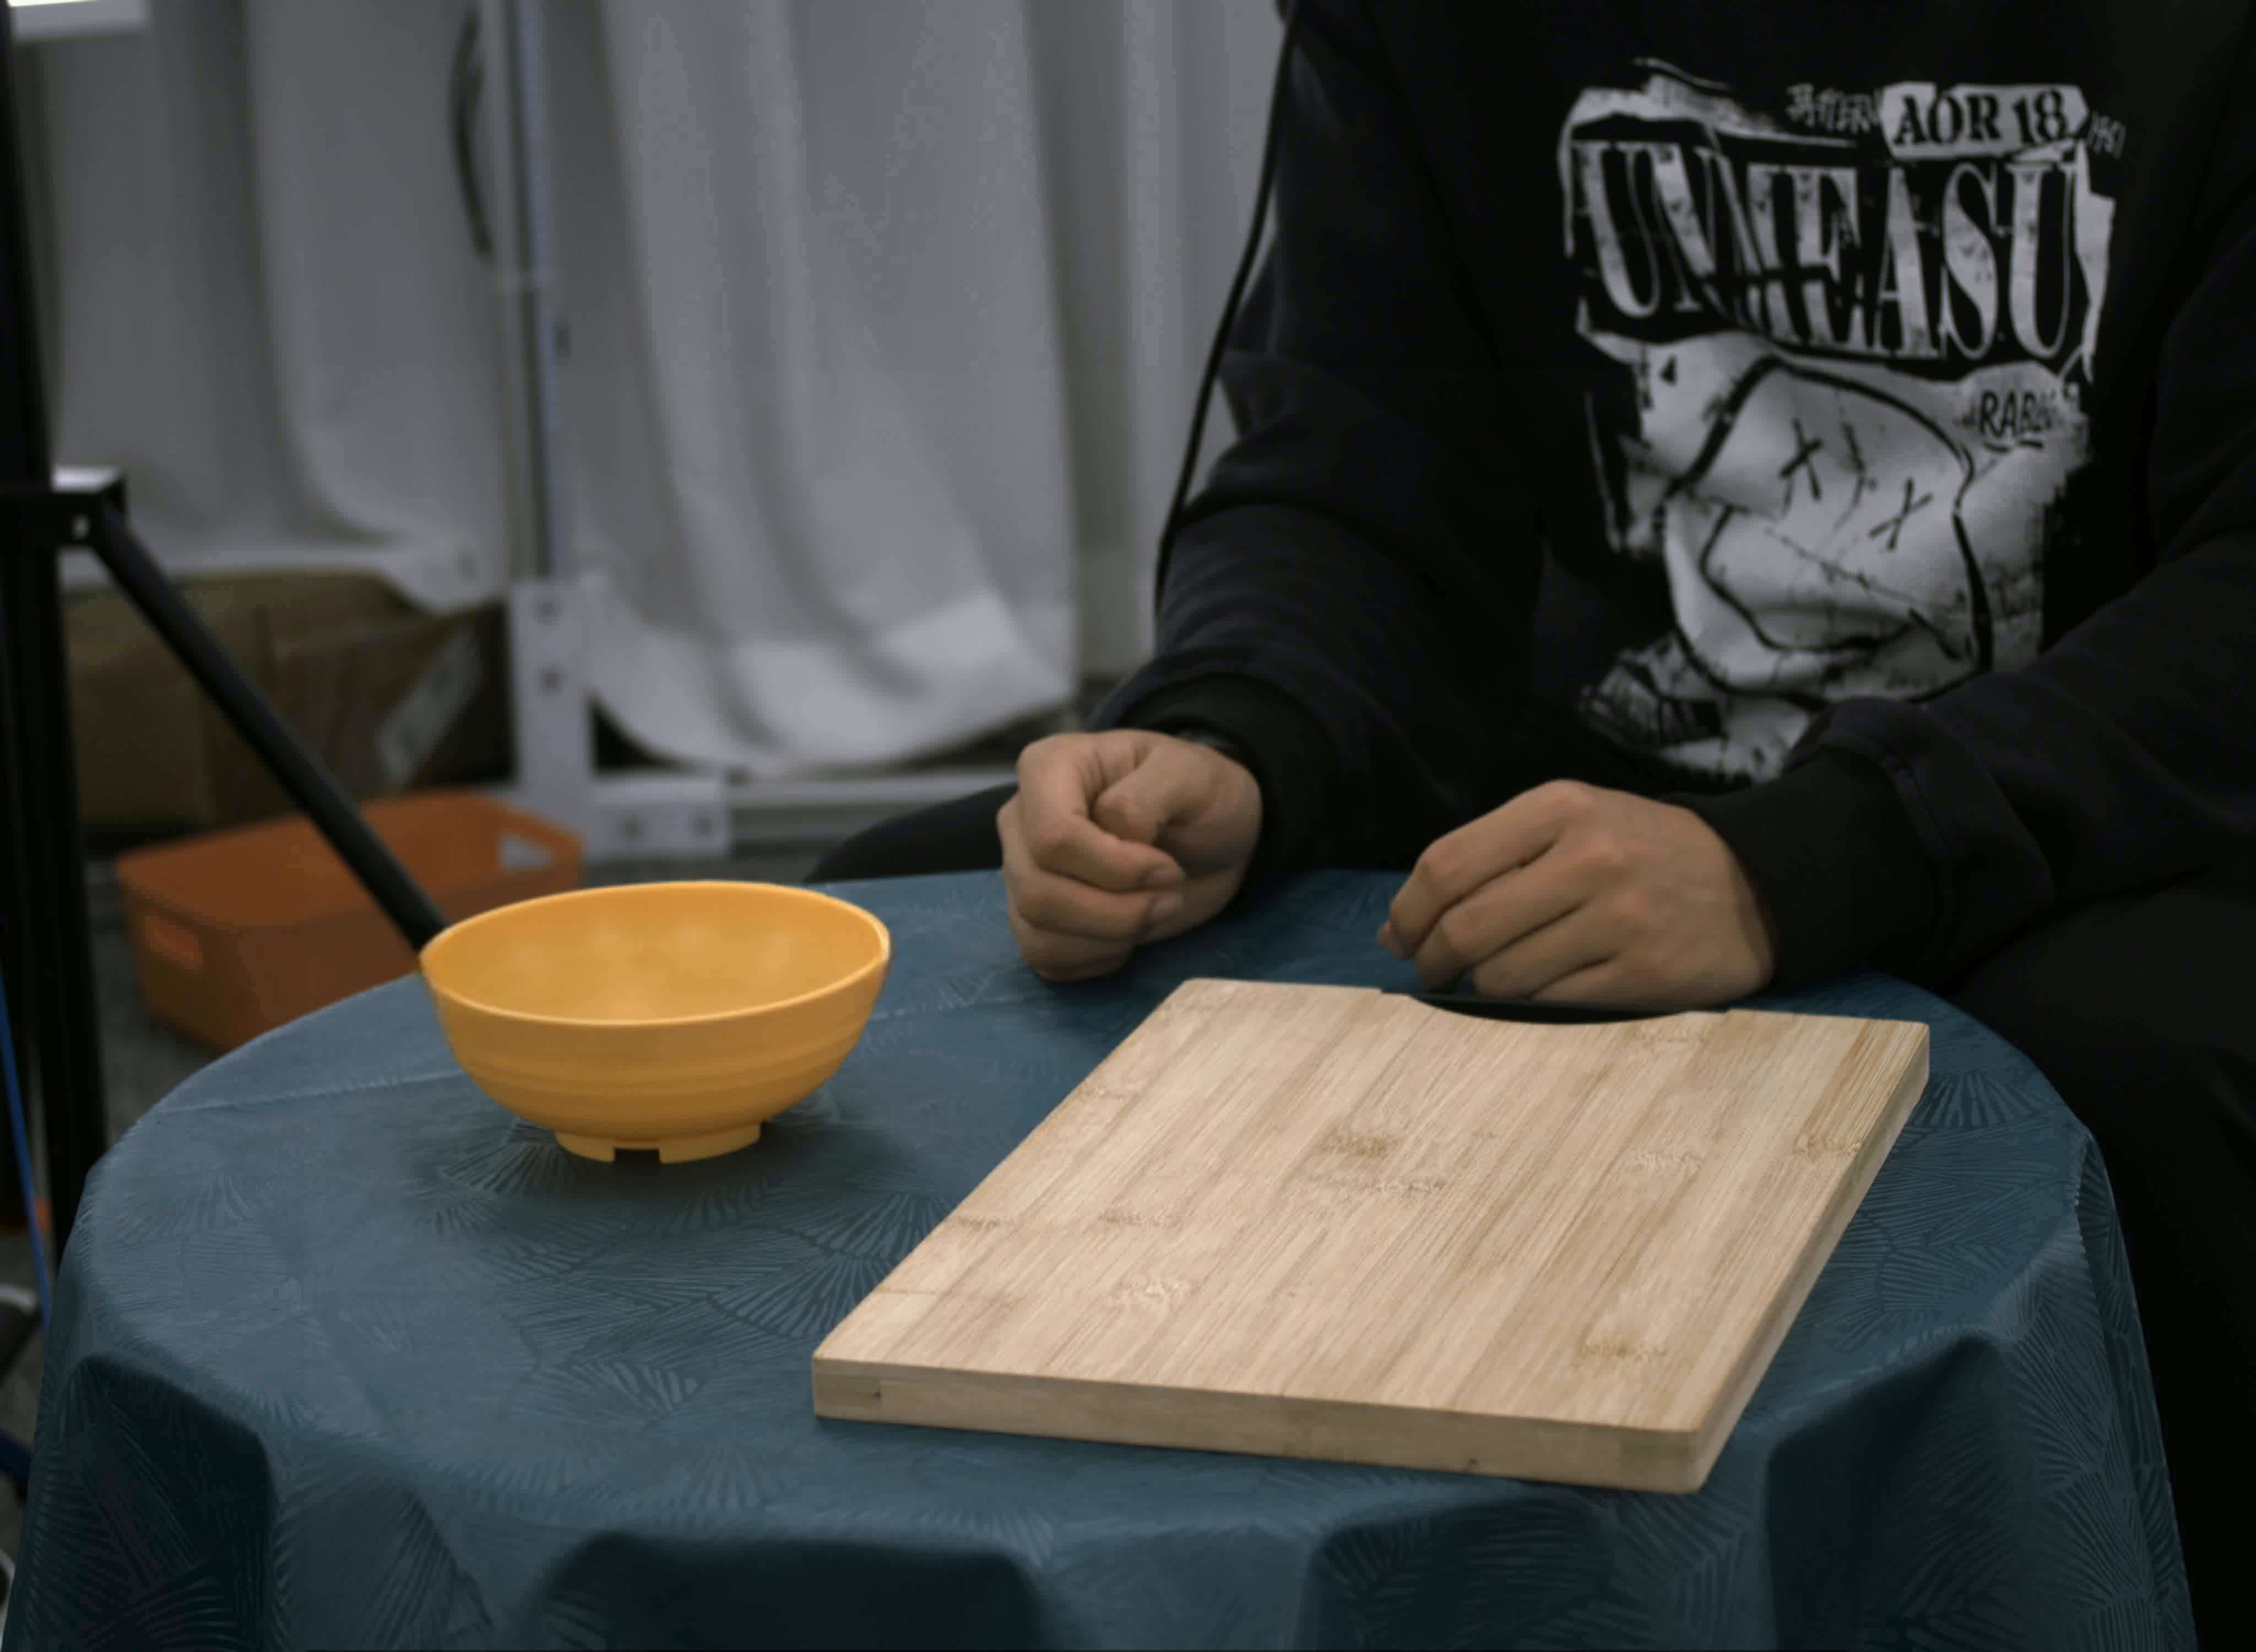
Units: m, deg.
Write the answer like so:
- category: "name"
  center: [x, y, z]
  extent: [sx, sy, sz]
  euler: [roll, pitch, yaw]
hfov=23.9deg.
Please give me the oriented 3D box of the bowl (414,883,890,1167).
- category: "bowl"
  center: [-0.144, 0.066, 1.628]
  extent: [0.144, 0.060, 0.146]
  euler: [0, 15, -1]

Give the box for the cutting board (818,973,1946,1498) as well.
- category: "cutting board"
  center: [0.084, 0.108, 1.514]
  extent: [0.253, 0.023, 0.345]
  euler: [3, 17, 18]
